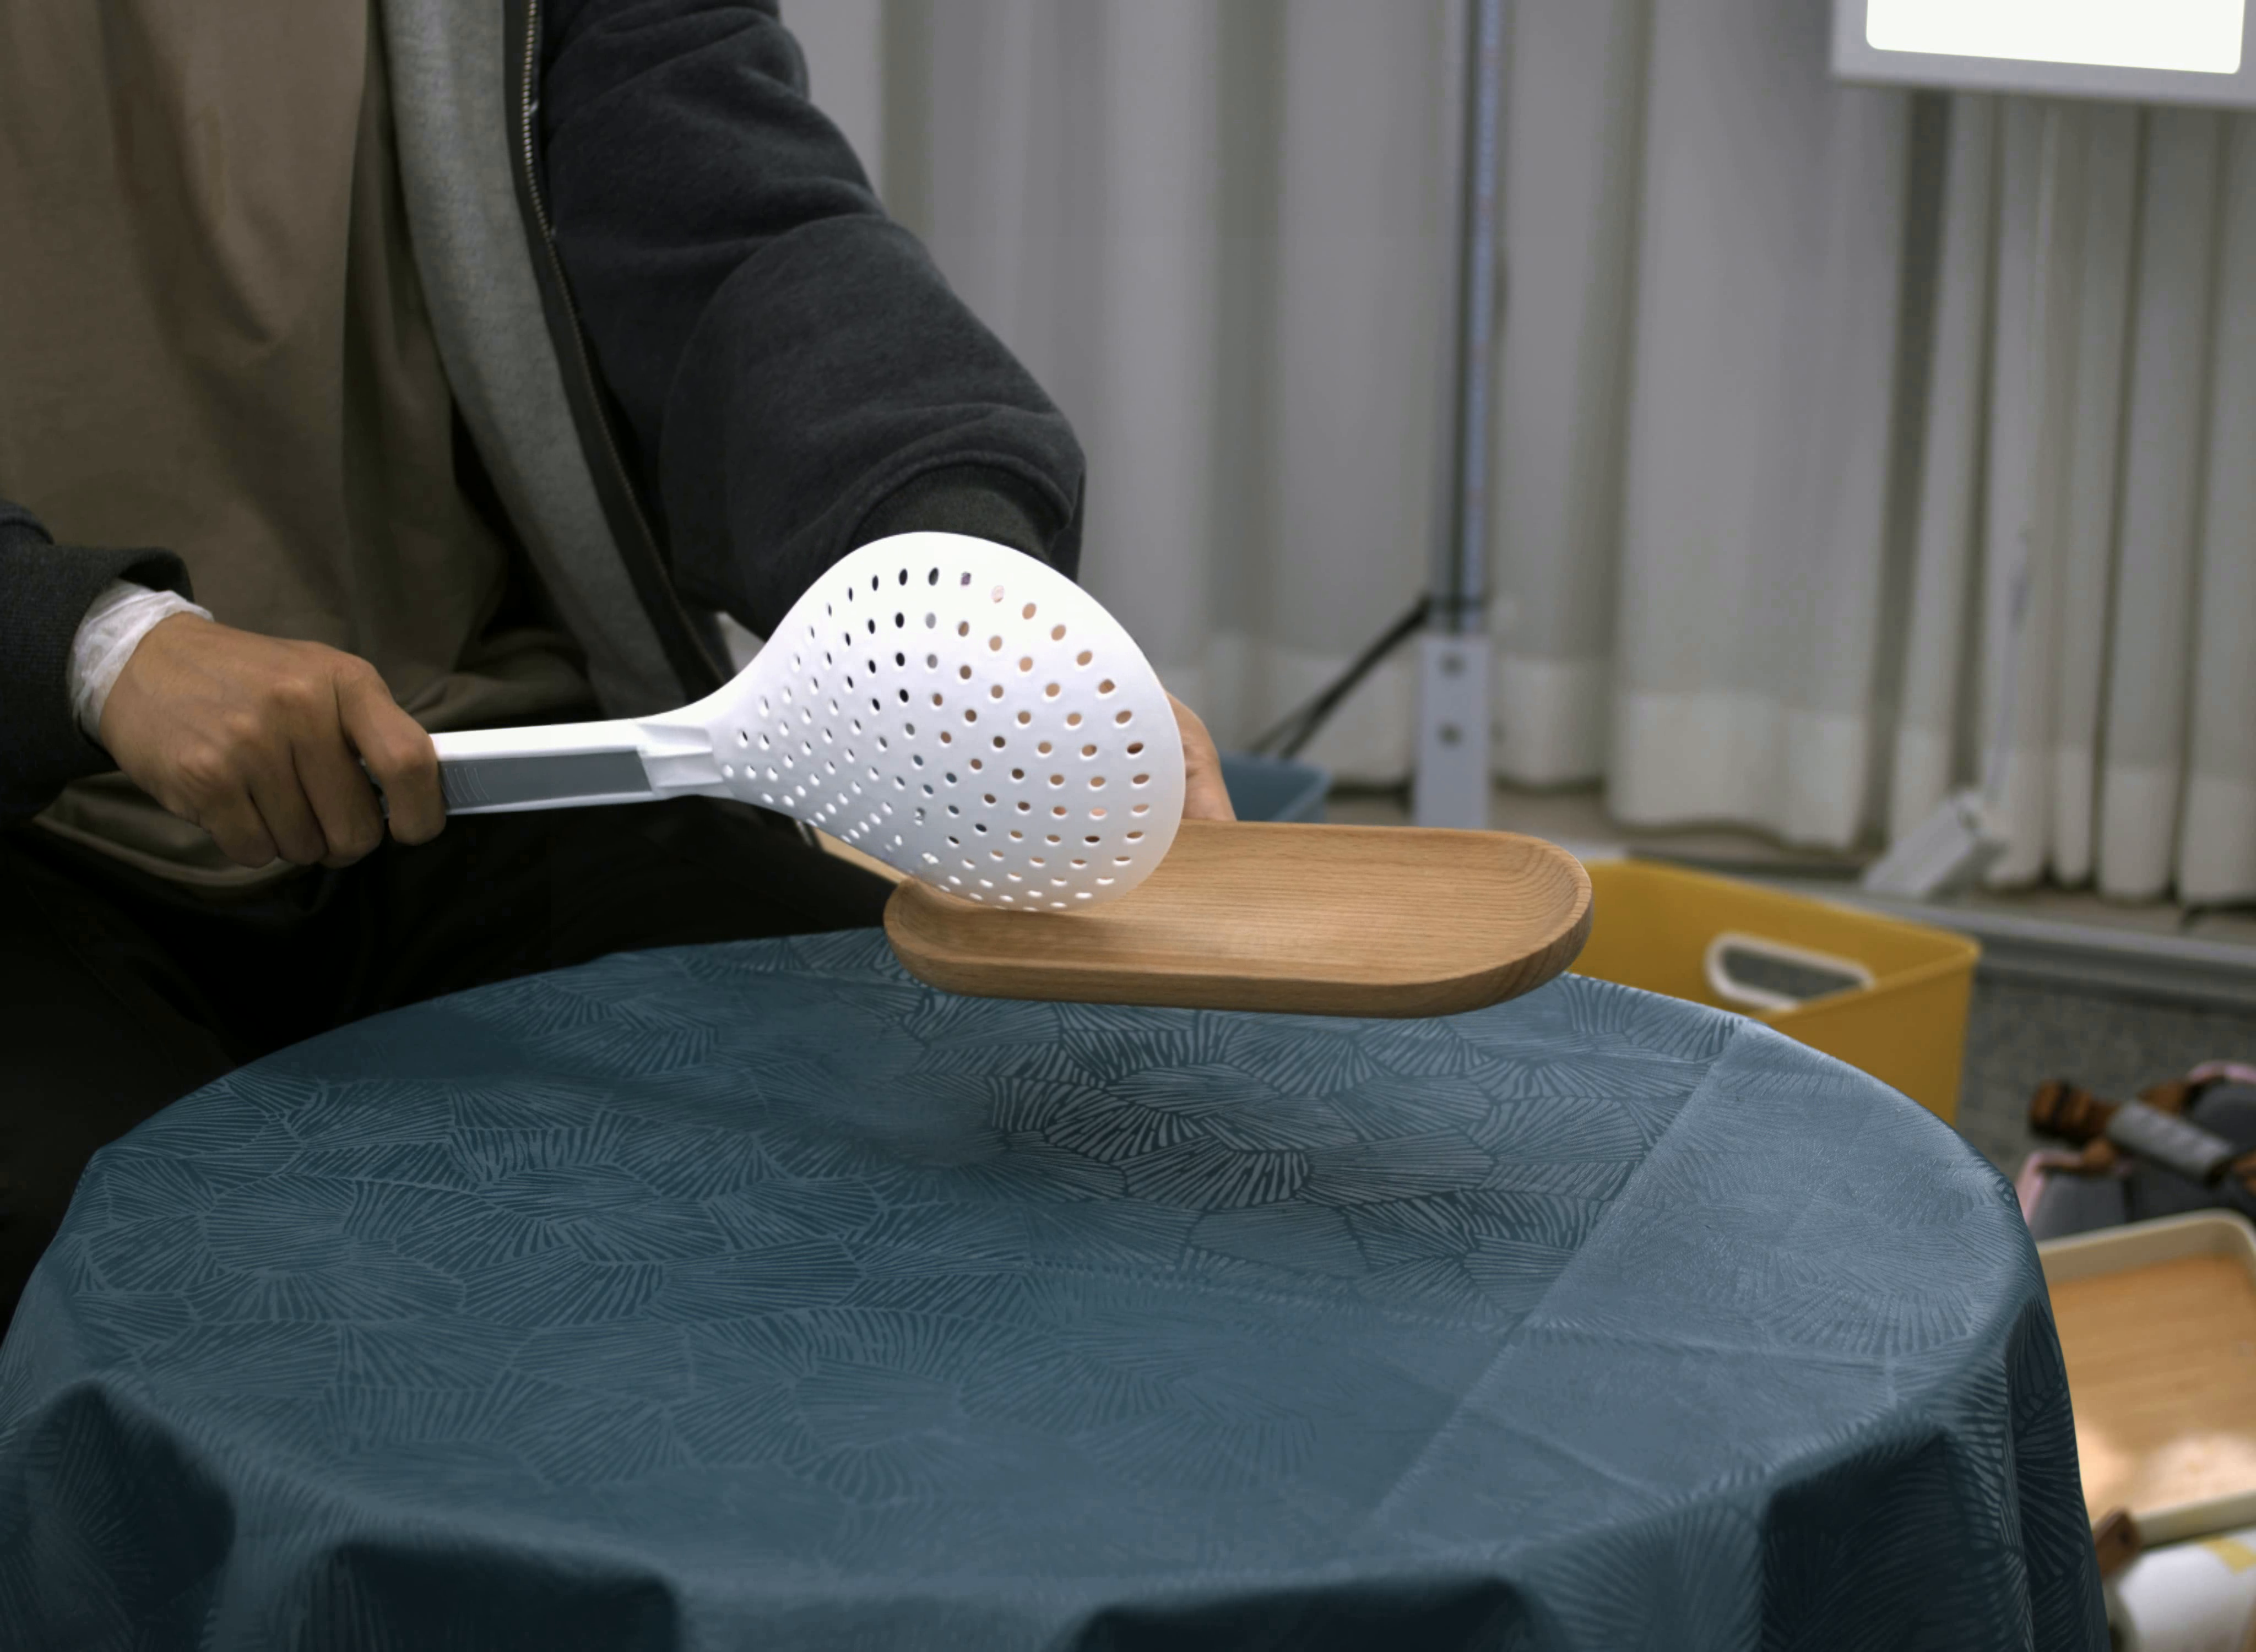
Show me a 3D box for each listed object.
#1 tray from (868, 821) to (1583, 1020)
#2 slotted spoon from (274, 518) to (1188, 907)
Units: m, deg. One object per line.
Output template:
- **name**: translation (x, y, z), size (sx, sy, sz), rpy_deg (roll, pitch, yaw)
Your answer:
- **tray**: translation (0.029, 0.029, 1.628), size (0.229, 0.020, 0.101), rpy_deg (1, 26, 23)
- **slotted spoon**: translation (-0.136, -0.025, 1.673), size (0.346, 0.137, 0.045), rpy_deg (-1, 30, 36)
